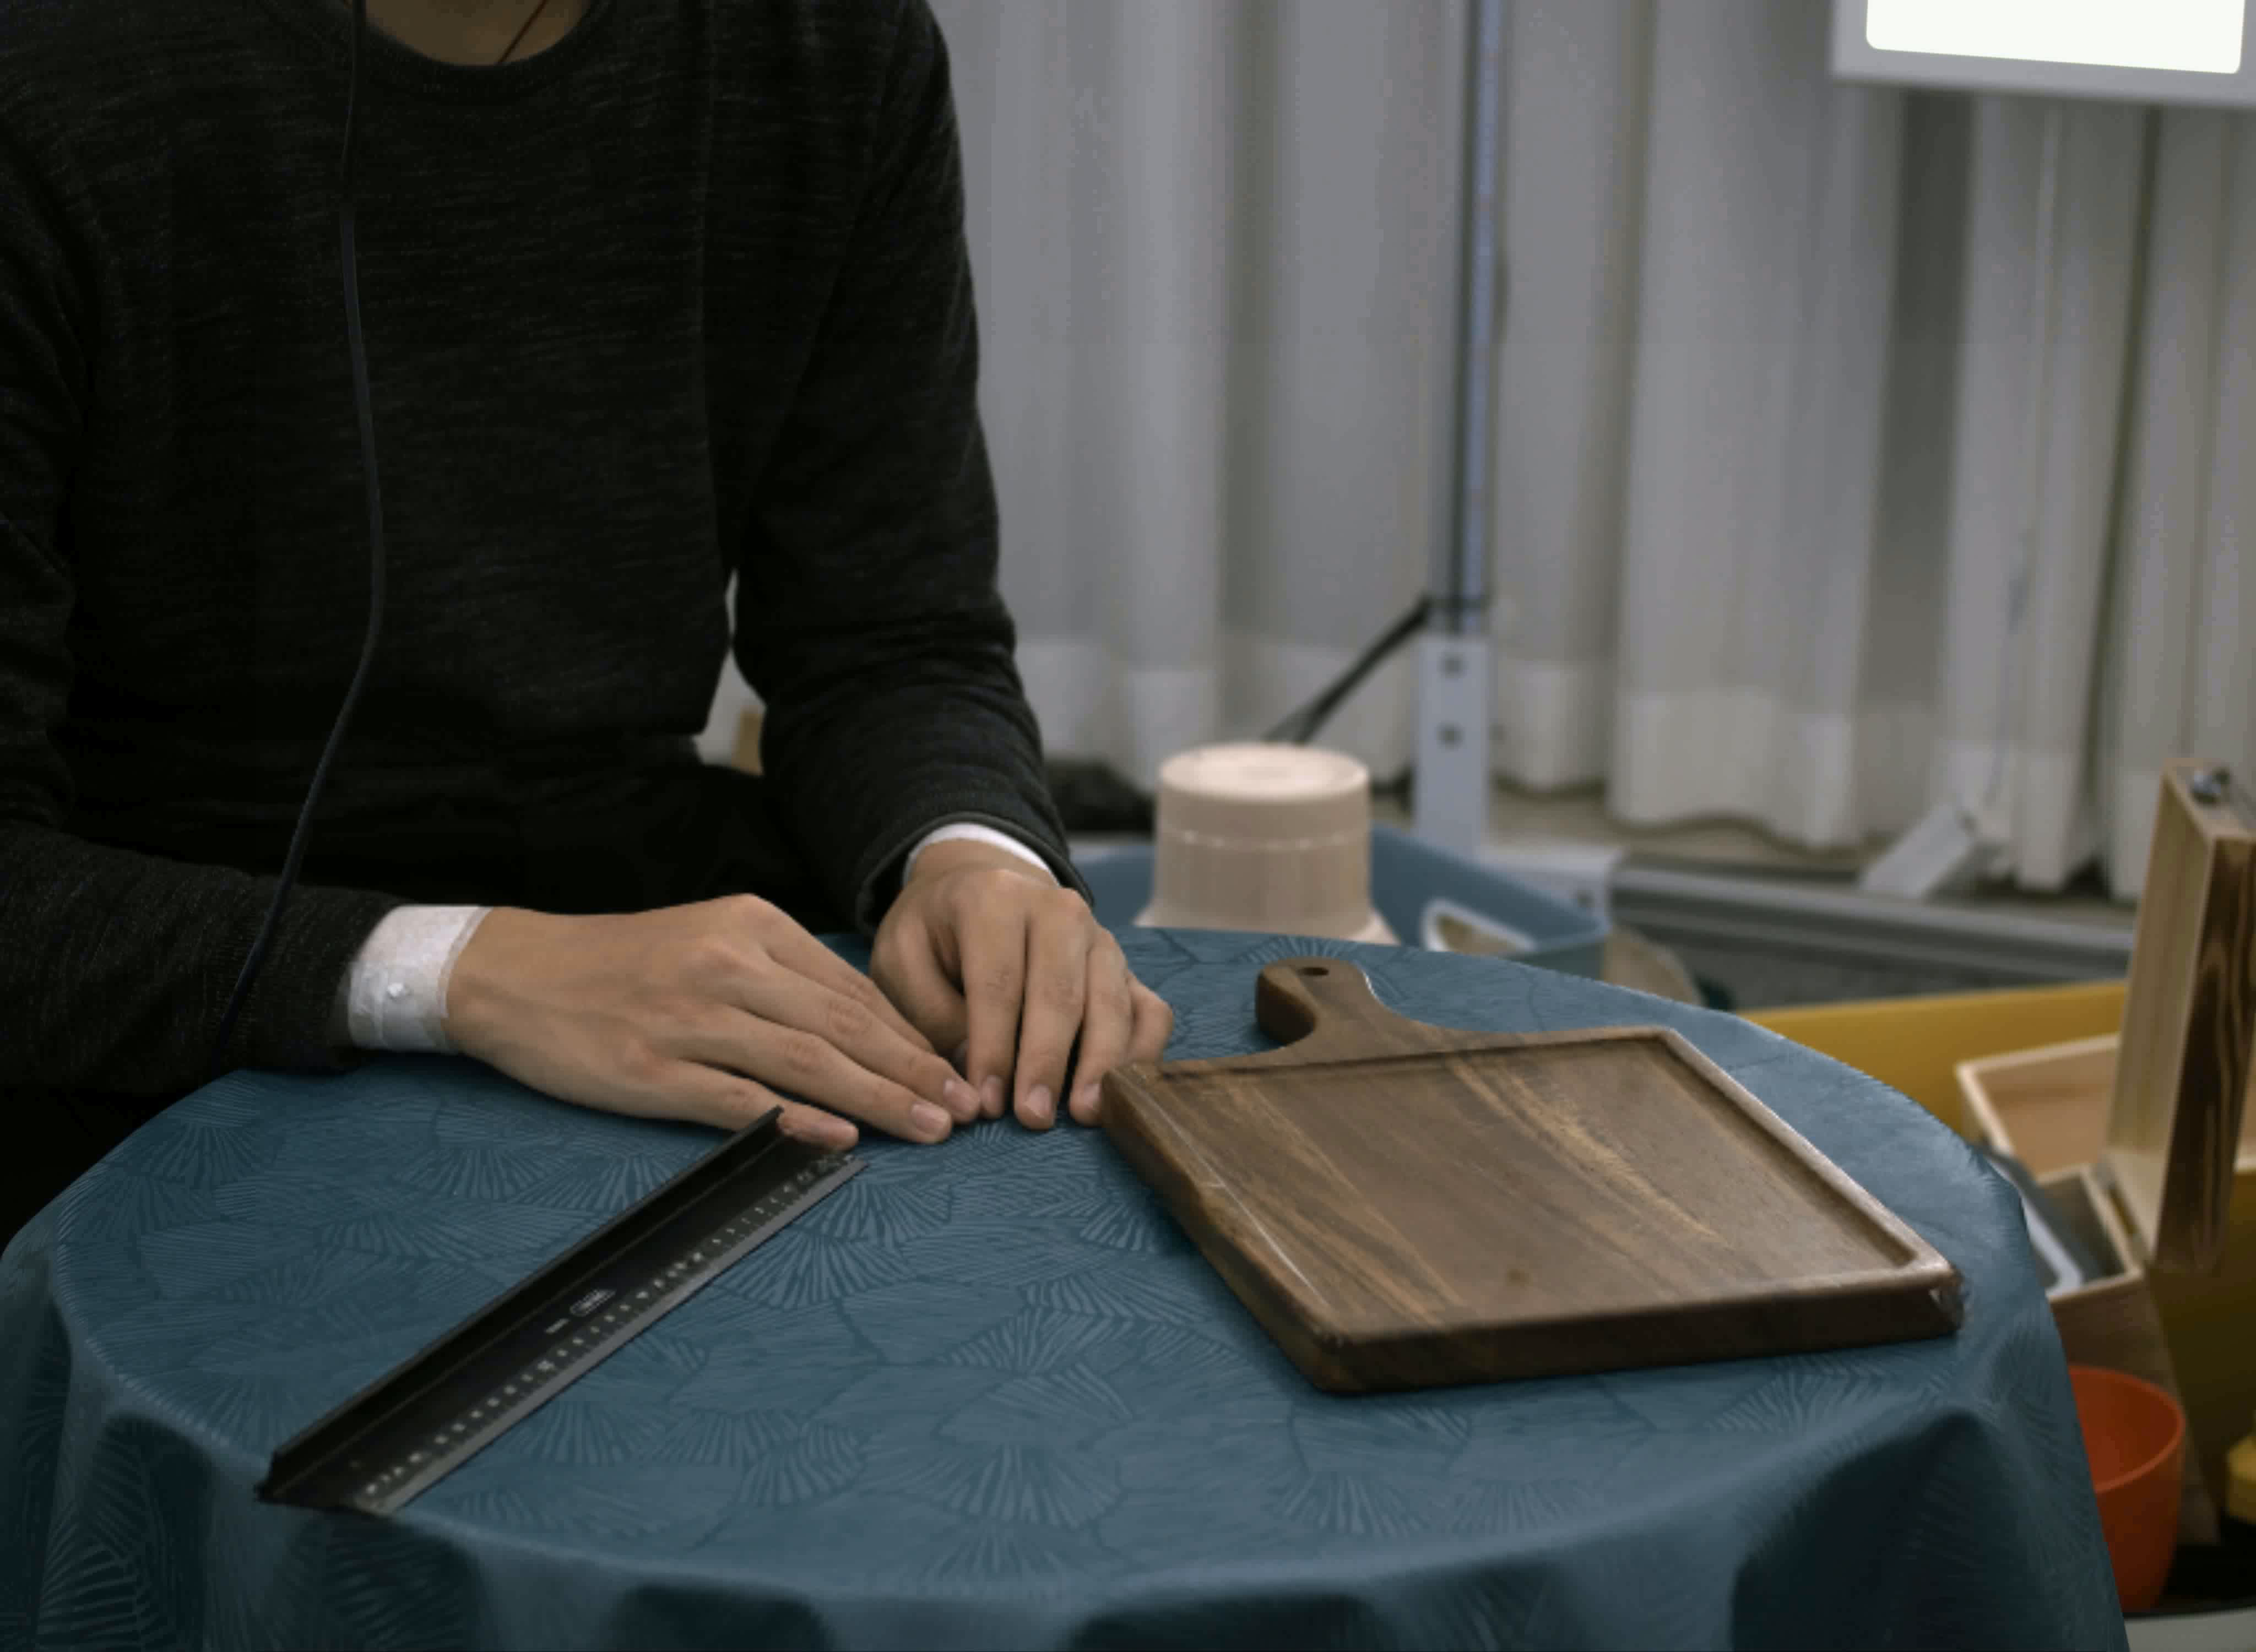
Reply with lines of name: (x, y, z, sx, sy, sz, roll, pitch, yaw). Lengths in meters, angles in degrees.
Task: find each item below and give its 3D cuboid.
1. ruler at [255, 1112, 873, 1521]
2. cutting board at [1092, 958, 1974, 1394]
ruler: (-0.154, 0.135, 1.506, 0.039, 0.017, 0.313, 9, 17, 20)
cutting board: (0.102, 0.098, 1.636, 0.201, 0.023, 0.348, -4, 16, -15)
